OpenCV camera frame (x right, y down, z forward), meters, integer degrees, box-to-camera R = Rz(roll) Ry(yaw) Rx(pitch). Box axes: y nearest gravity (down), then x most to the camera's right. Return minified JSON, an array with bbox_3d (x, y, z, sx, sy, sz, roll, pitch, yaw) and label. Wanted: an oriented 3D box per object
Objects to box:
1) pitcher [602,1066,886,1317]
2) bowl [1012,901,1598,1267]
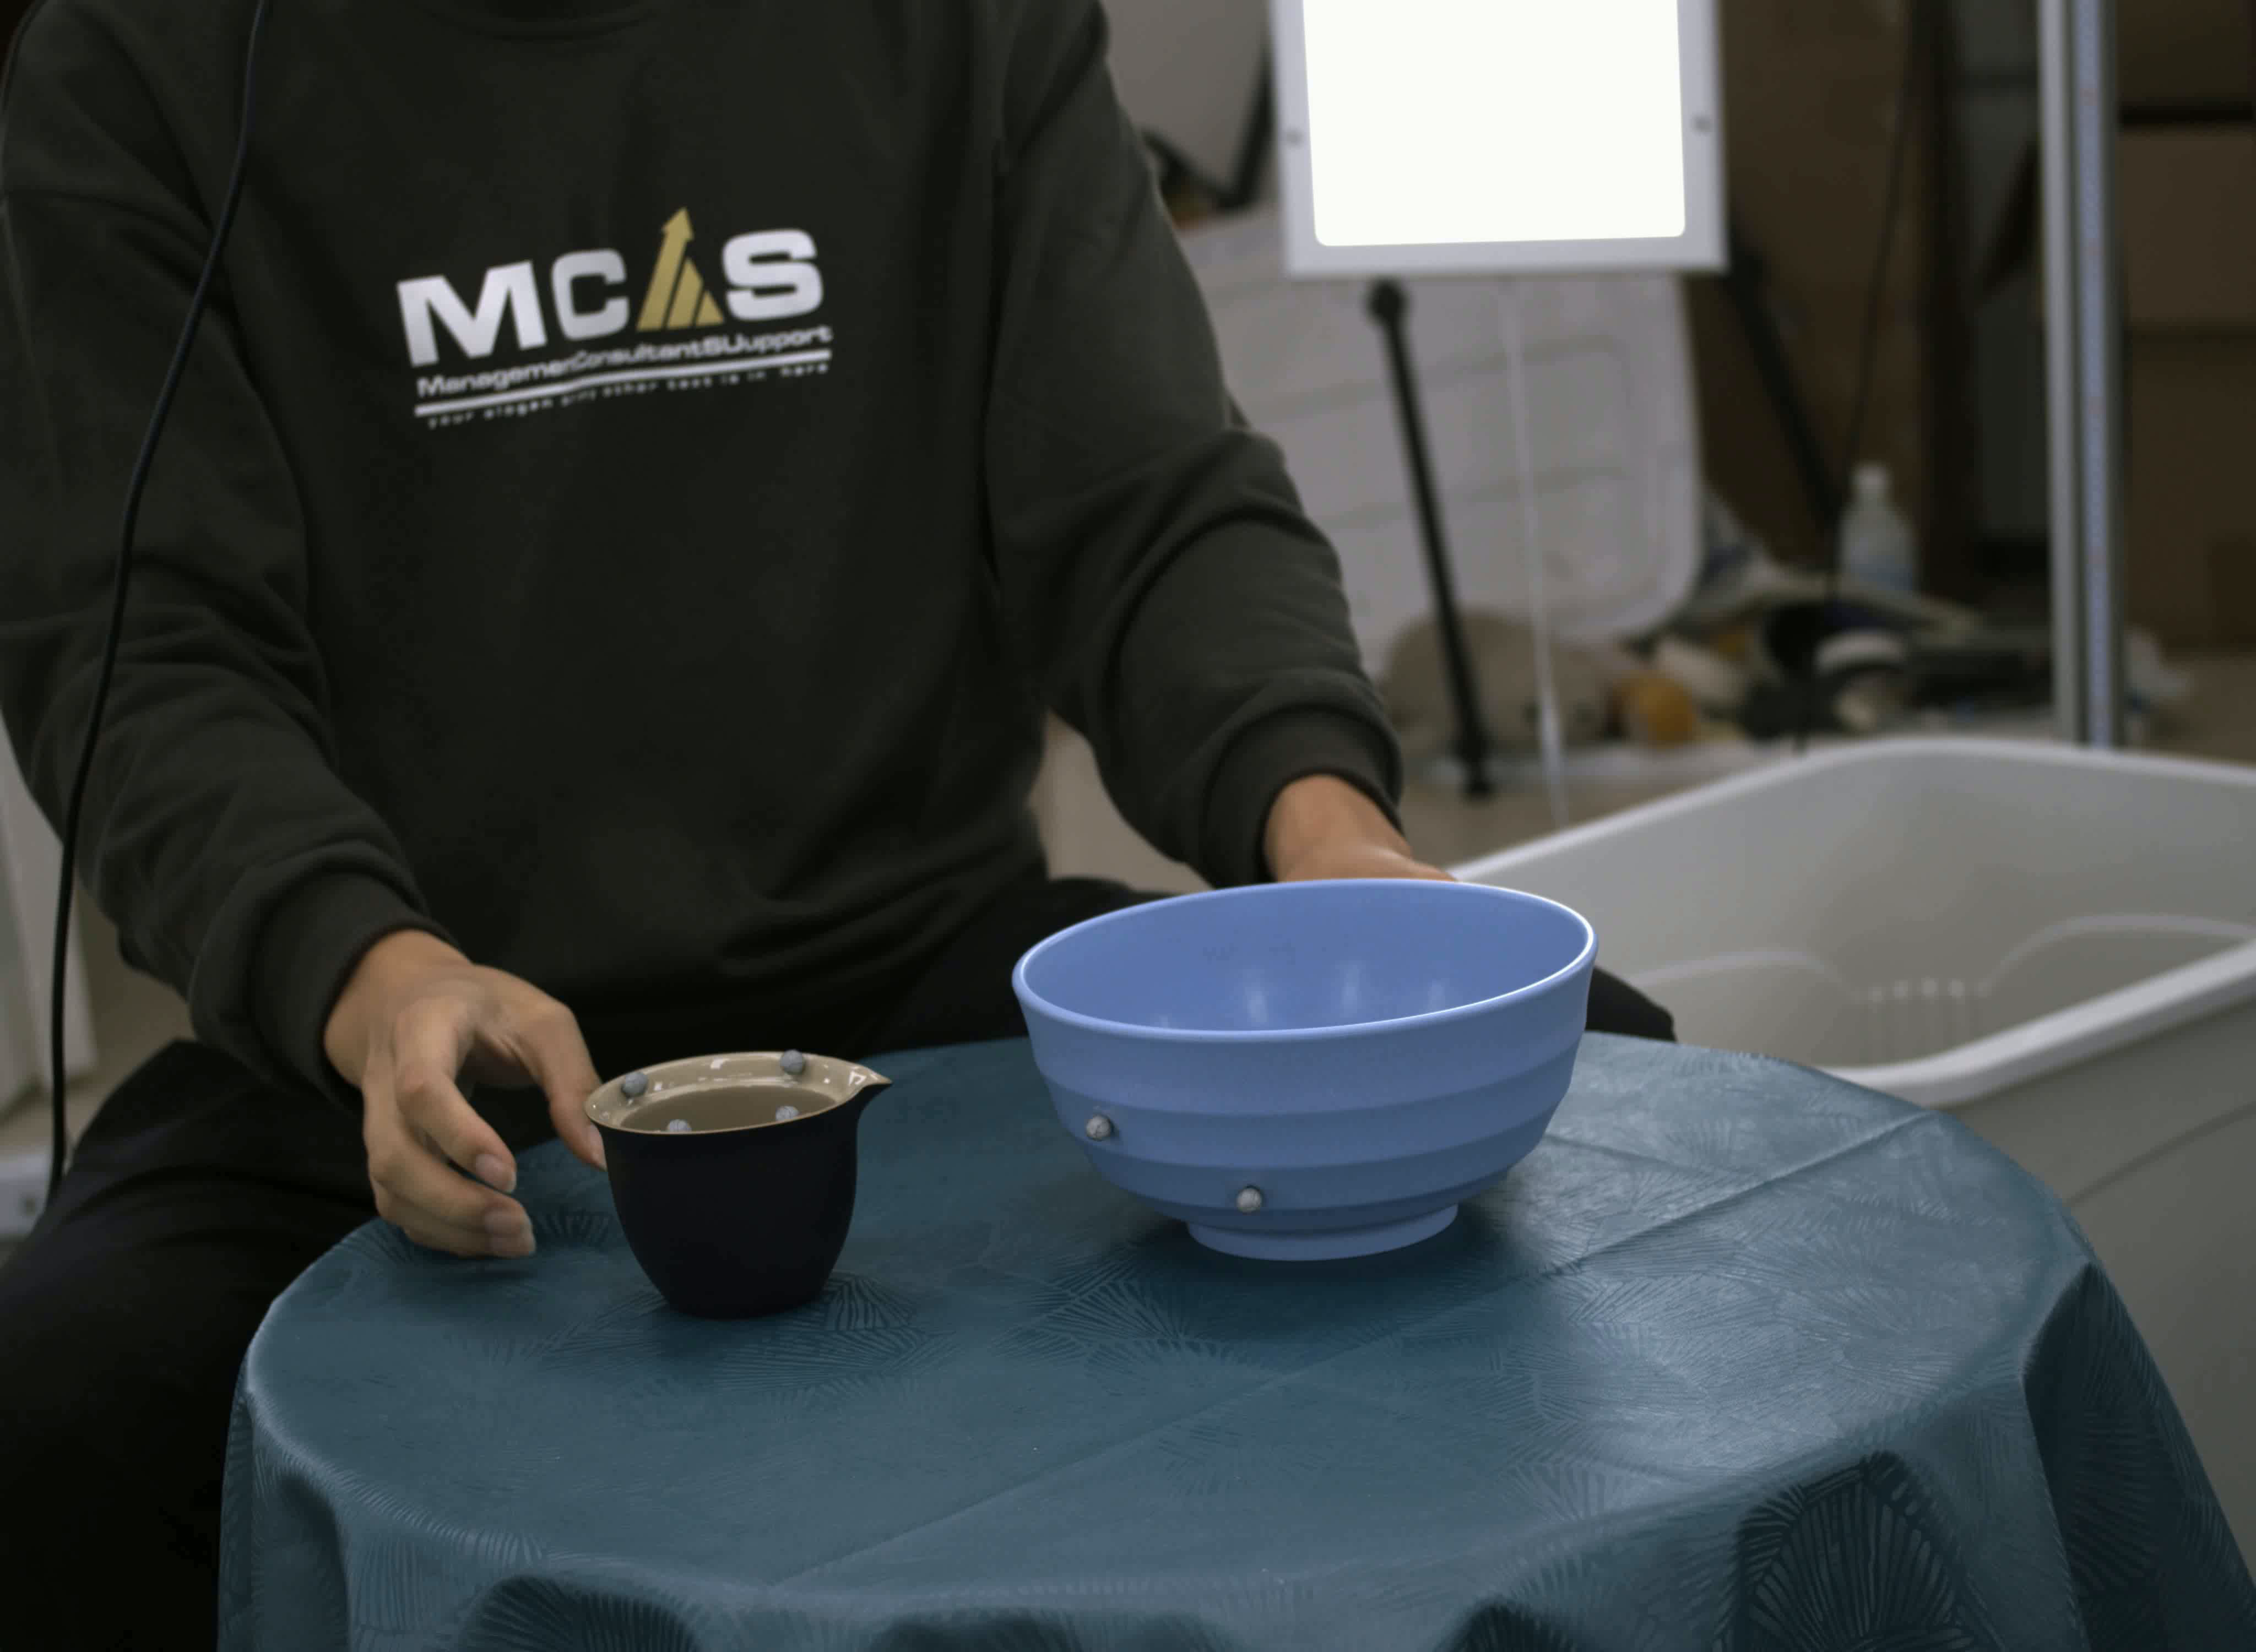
[{"bbox_3d":[-0.123,0.120,1.818,0.095,0.071,0.084,-7,12,-9],"label":"pitcher"},{"bbox_3d":[0.062,0.090,1.842,0.196,0.096,0.196,-4,11,-1],"label":"bowl"}]
